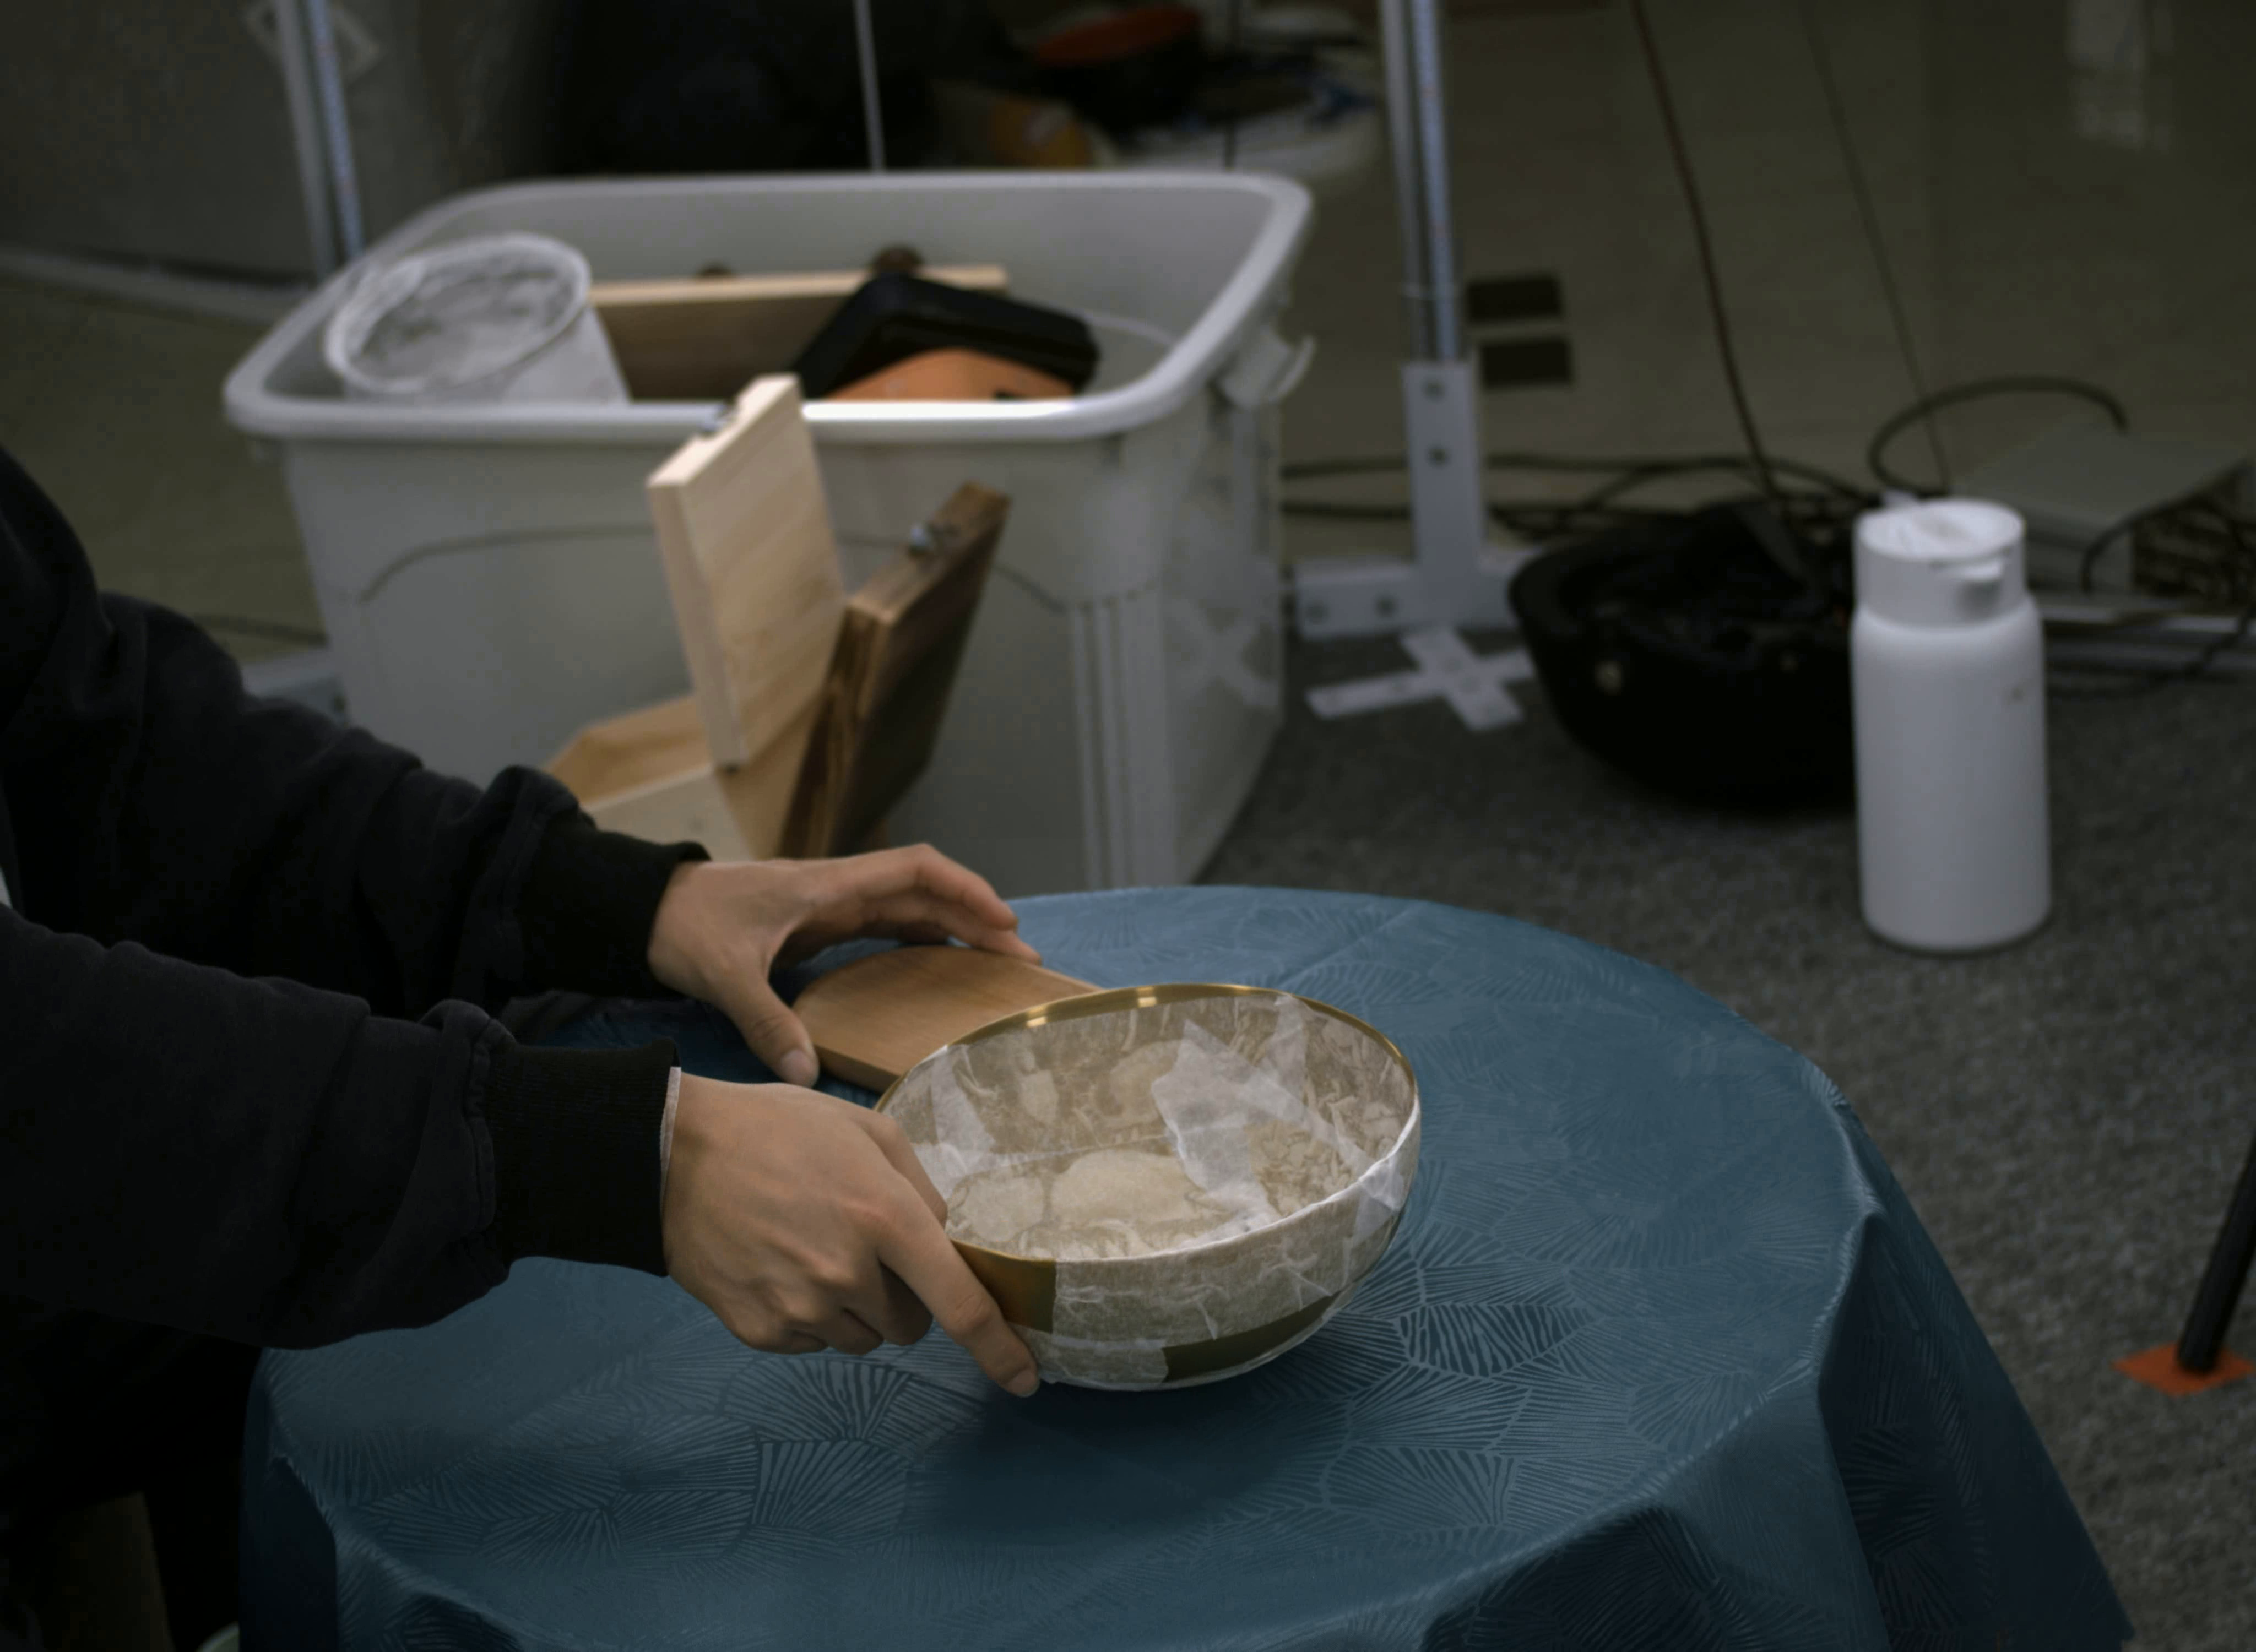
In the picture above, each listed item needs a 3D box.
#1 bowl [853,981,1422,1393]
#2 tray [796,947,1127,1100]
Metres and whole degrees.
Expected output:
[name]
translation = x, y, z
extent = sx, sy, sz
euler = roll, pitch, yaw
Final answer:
[bowl]
translation = 0.008, 0.141, 2.036
extent = 0.214, 0.096, 0.211
euler = -7, 27, 3
[tray]
translation = -0.035, 0.092, 2.244
extent = 0.229, 0.020, 0.101
euler = 18, 36, 39
